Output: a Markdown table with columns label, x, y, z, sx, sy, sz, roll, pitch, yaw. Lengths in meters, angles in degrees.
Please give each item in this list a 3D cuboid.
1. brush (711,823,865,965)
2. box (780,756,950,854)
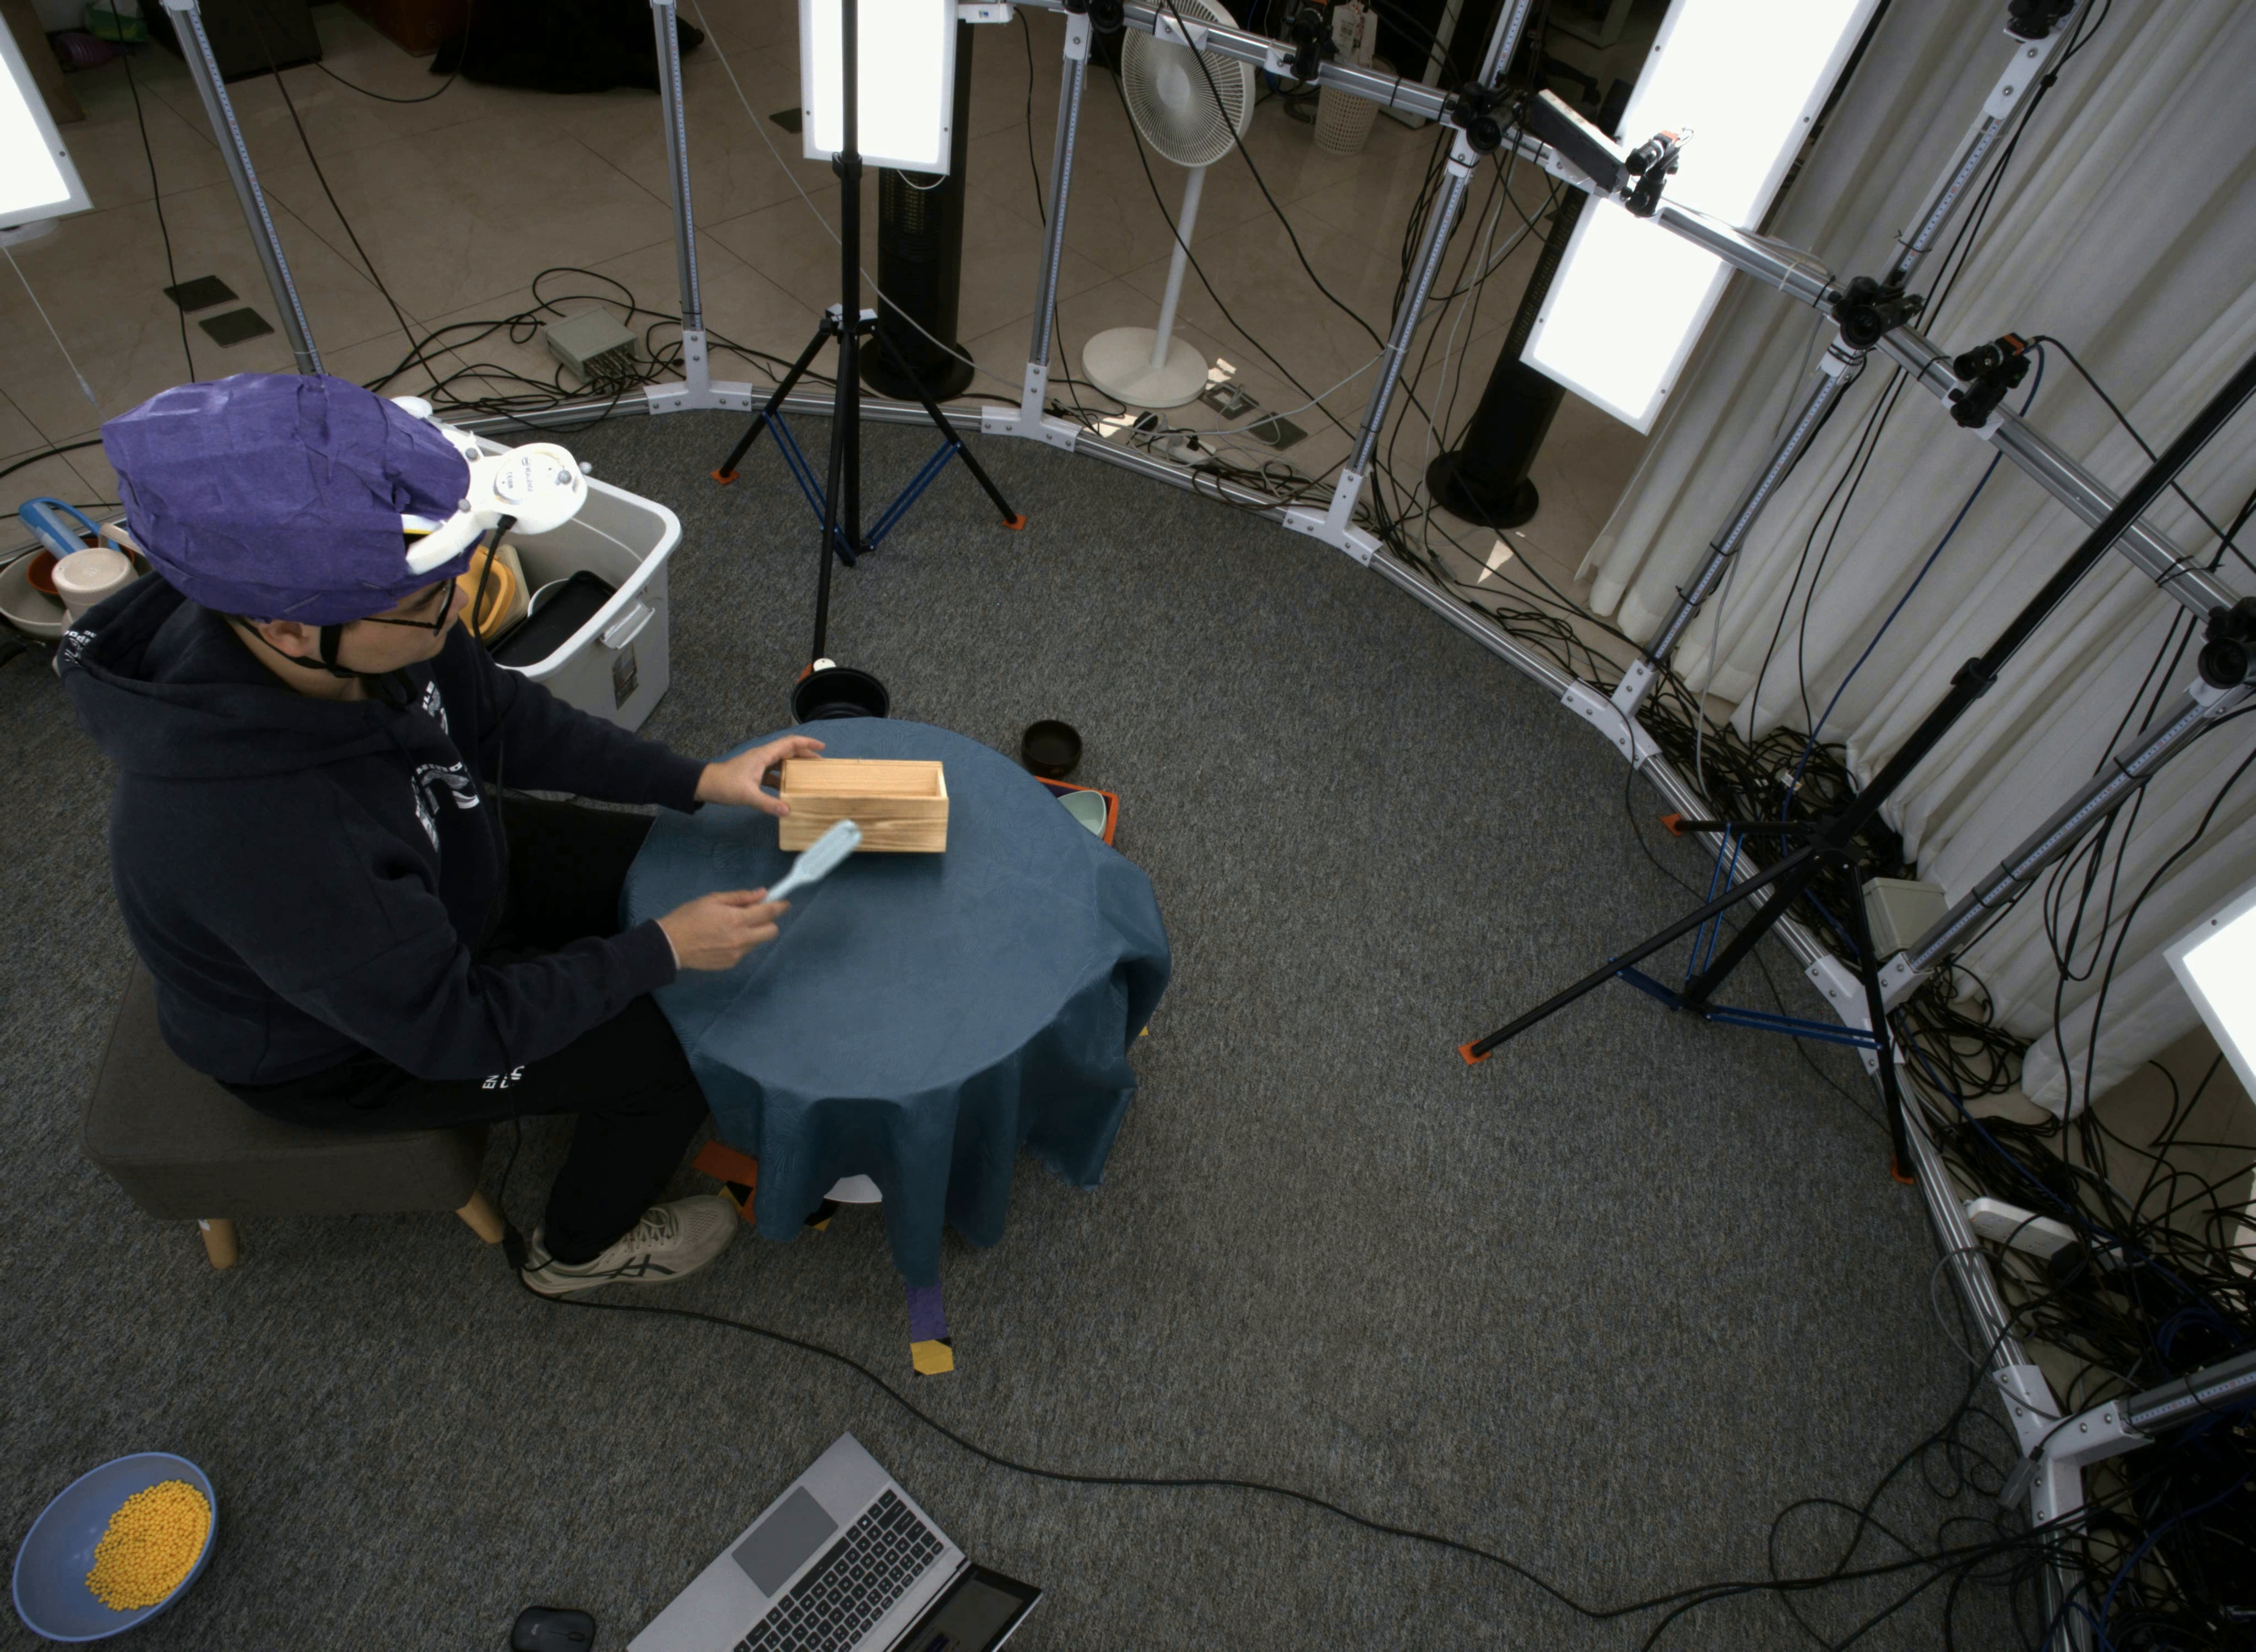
| label | x | y | z | sx | sy | sz | roll | pitch | yaw |
| --- | --- | --- | --- | --- | --- | --- | --- | --- | --- |
| brush | -0.406 | 0.080 | 1.551 | 0.228 | 0.049 | 0.038 | -44 | 93 | -14 |
| box | -0.342 | -0.028 | 1.683 | 0.212 | 0.082 | 0.104 | 1 | 33 | -17 |
